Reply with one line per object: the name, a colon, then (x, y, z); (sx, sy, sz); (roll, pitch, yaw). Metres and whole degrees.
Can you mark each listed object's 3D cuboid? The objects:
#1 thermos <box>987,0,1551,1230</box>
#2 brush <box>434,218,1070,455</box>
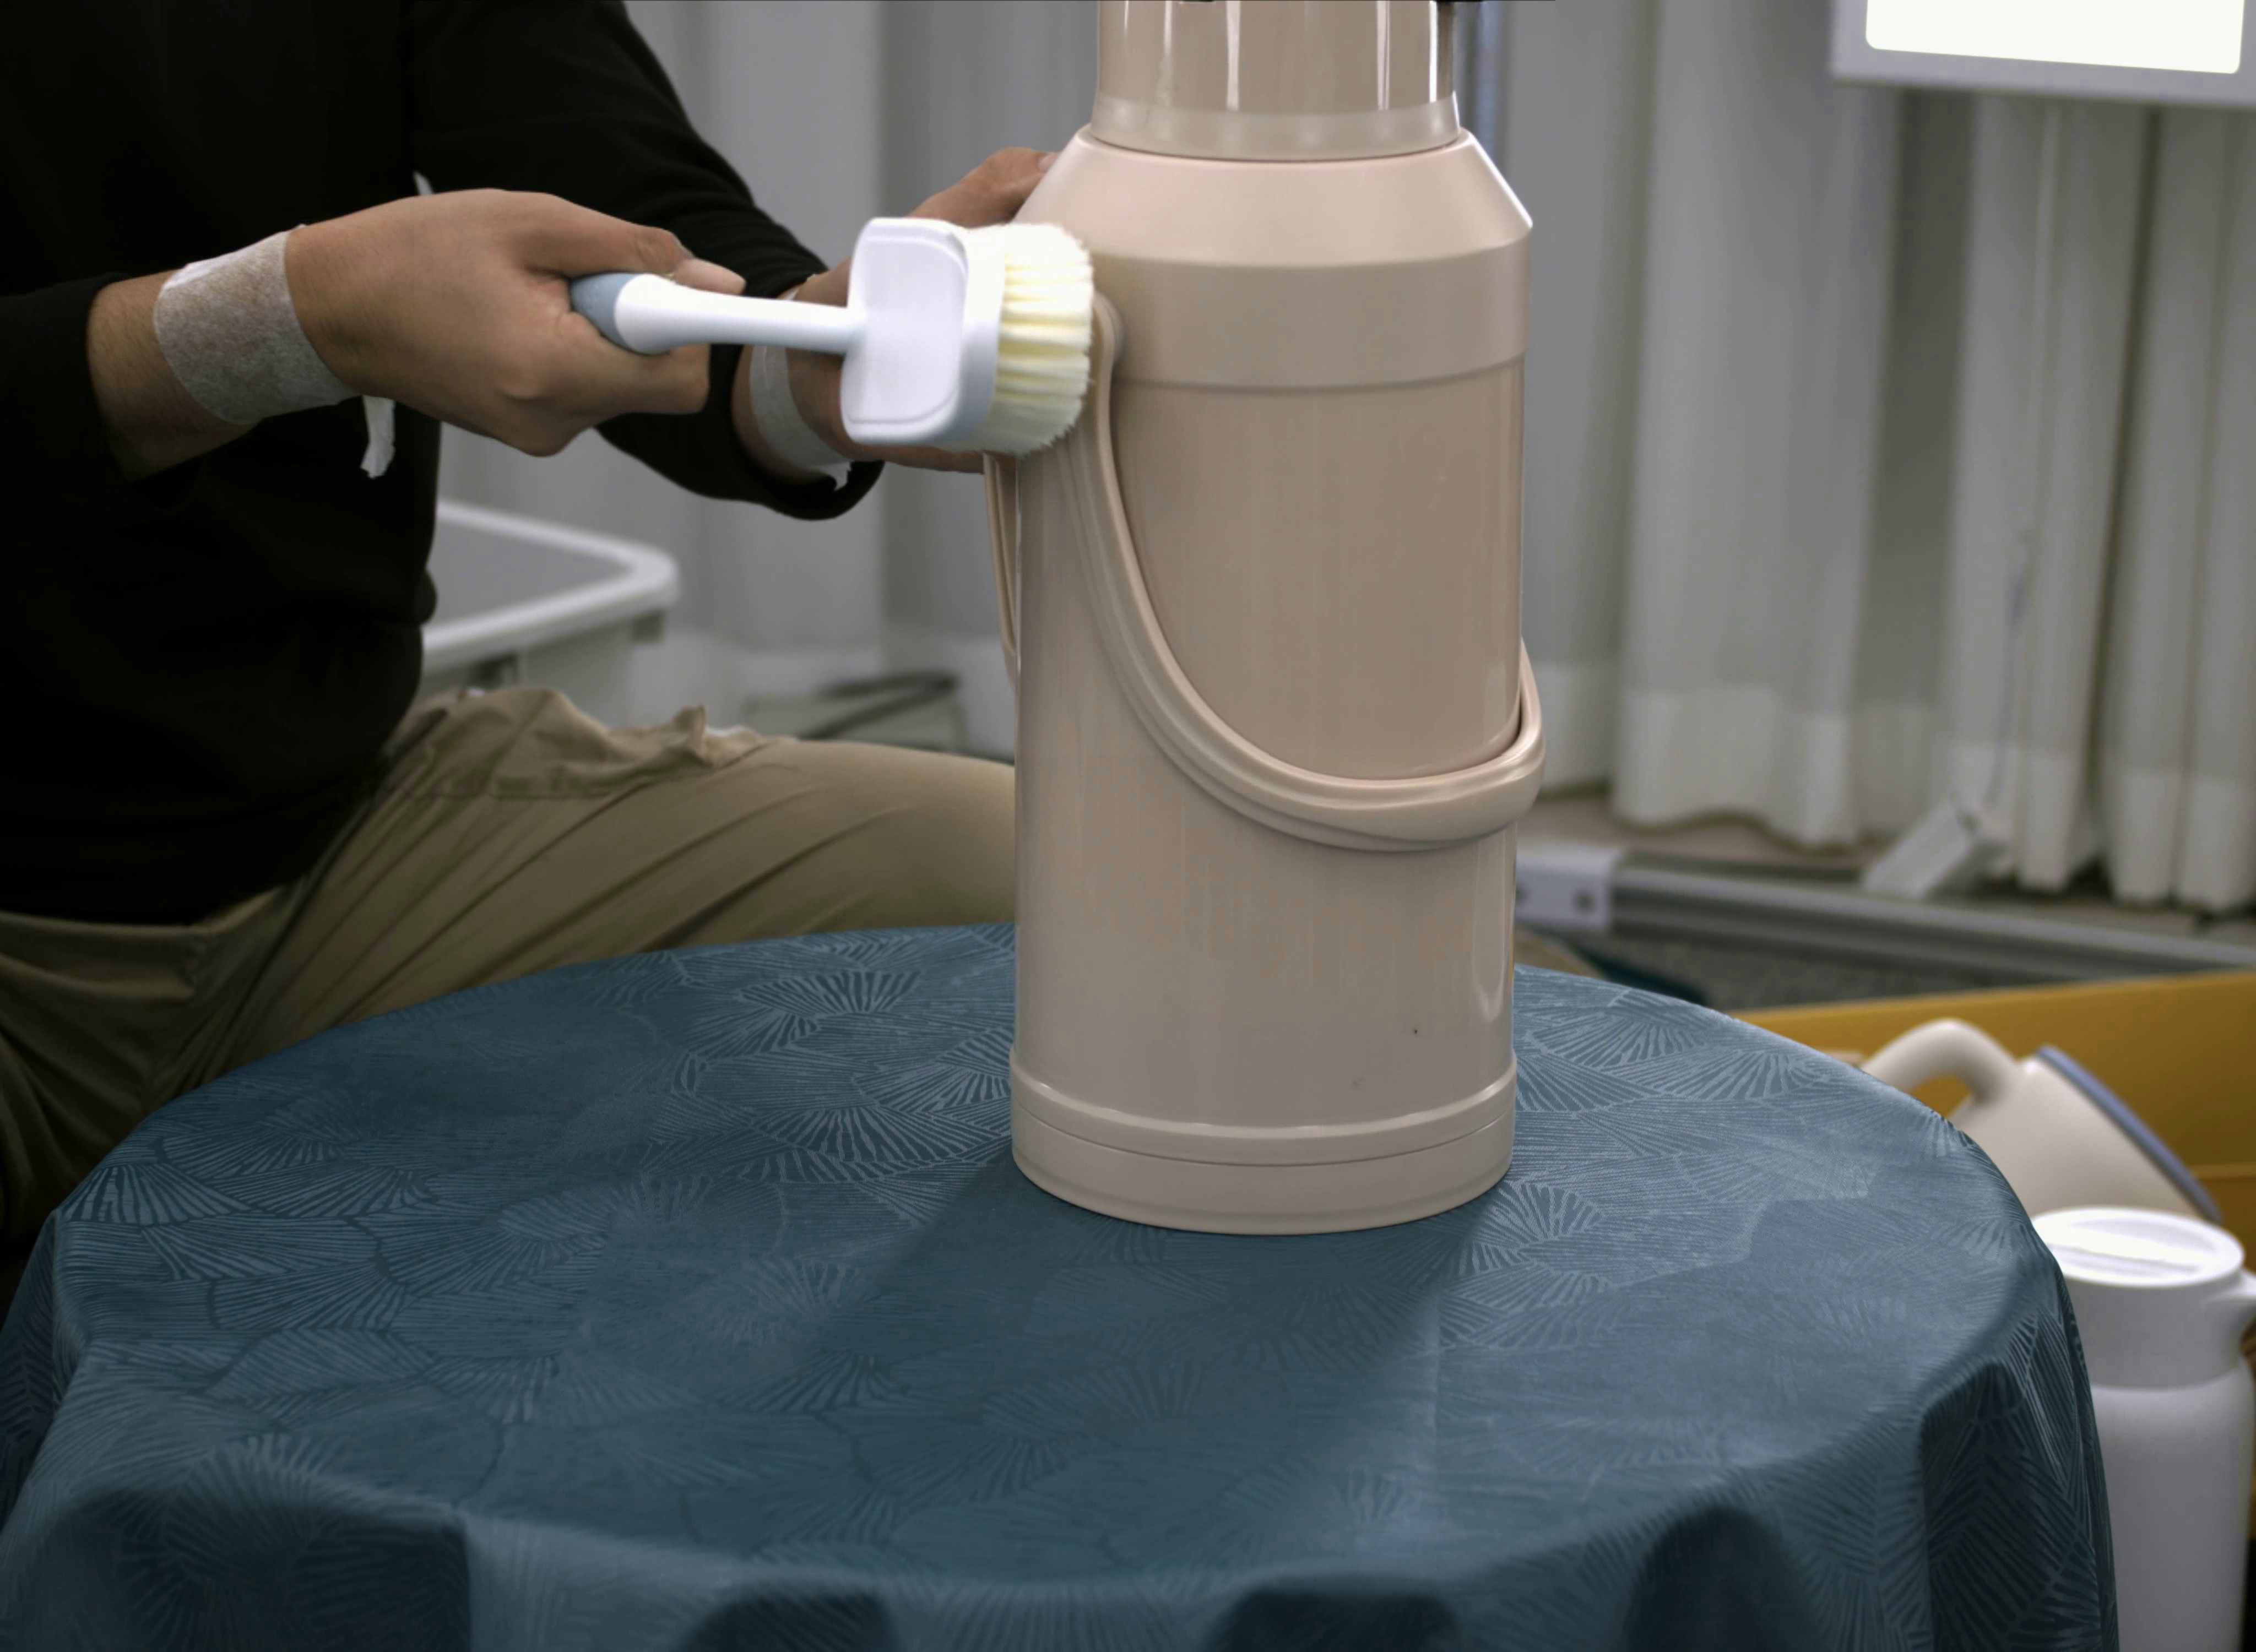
thermos: (0.036, -0.092, 1.614); (0.204, 0.410, 0.176); (15, 23, 41)
brush: (-0.103, -0.157, 1.610); (0.083, 0.085, 0.321); (-52, 30, -17)
